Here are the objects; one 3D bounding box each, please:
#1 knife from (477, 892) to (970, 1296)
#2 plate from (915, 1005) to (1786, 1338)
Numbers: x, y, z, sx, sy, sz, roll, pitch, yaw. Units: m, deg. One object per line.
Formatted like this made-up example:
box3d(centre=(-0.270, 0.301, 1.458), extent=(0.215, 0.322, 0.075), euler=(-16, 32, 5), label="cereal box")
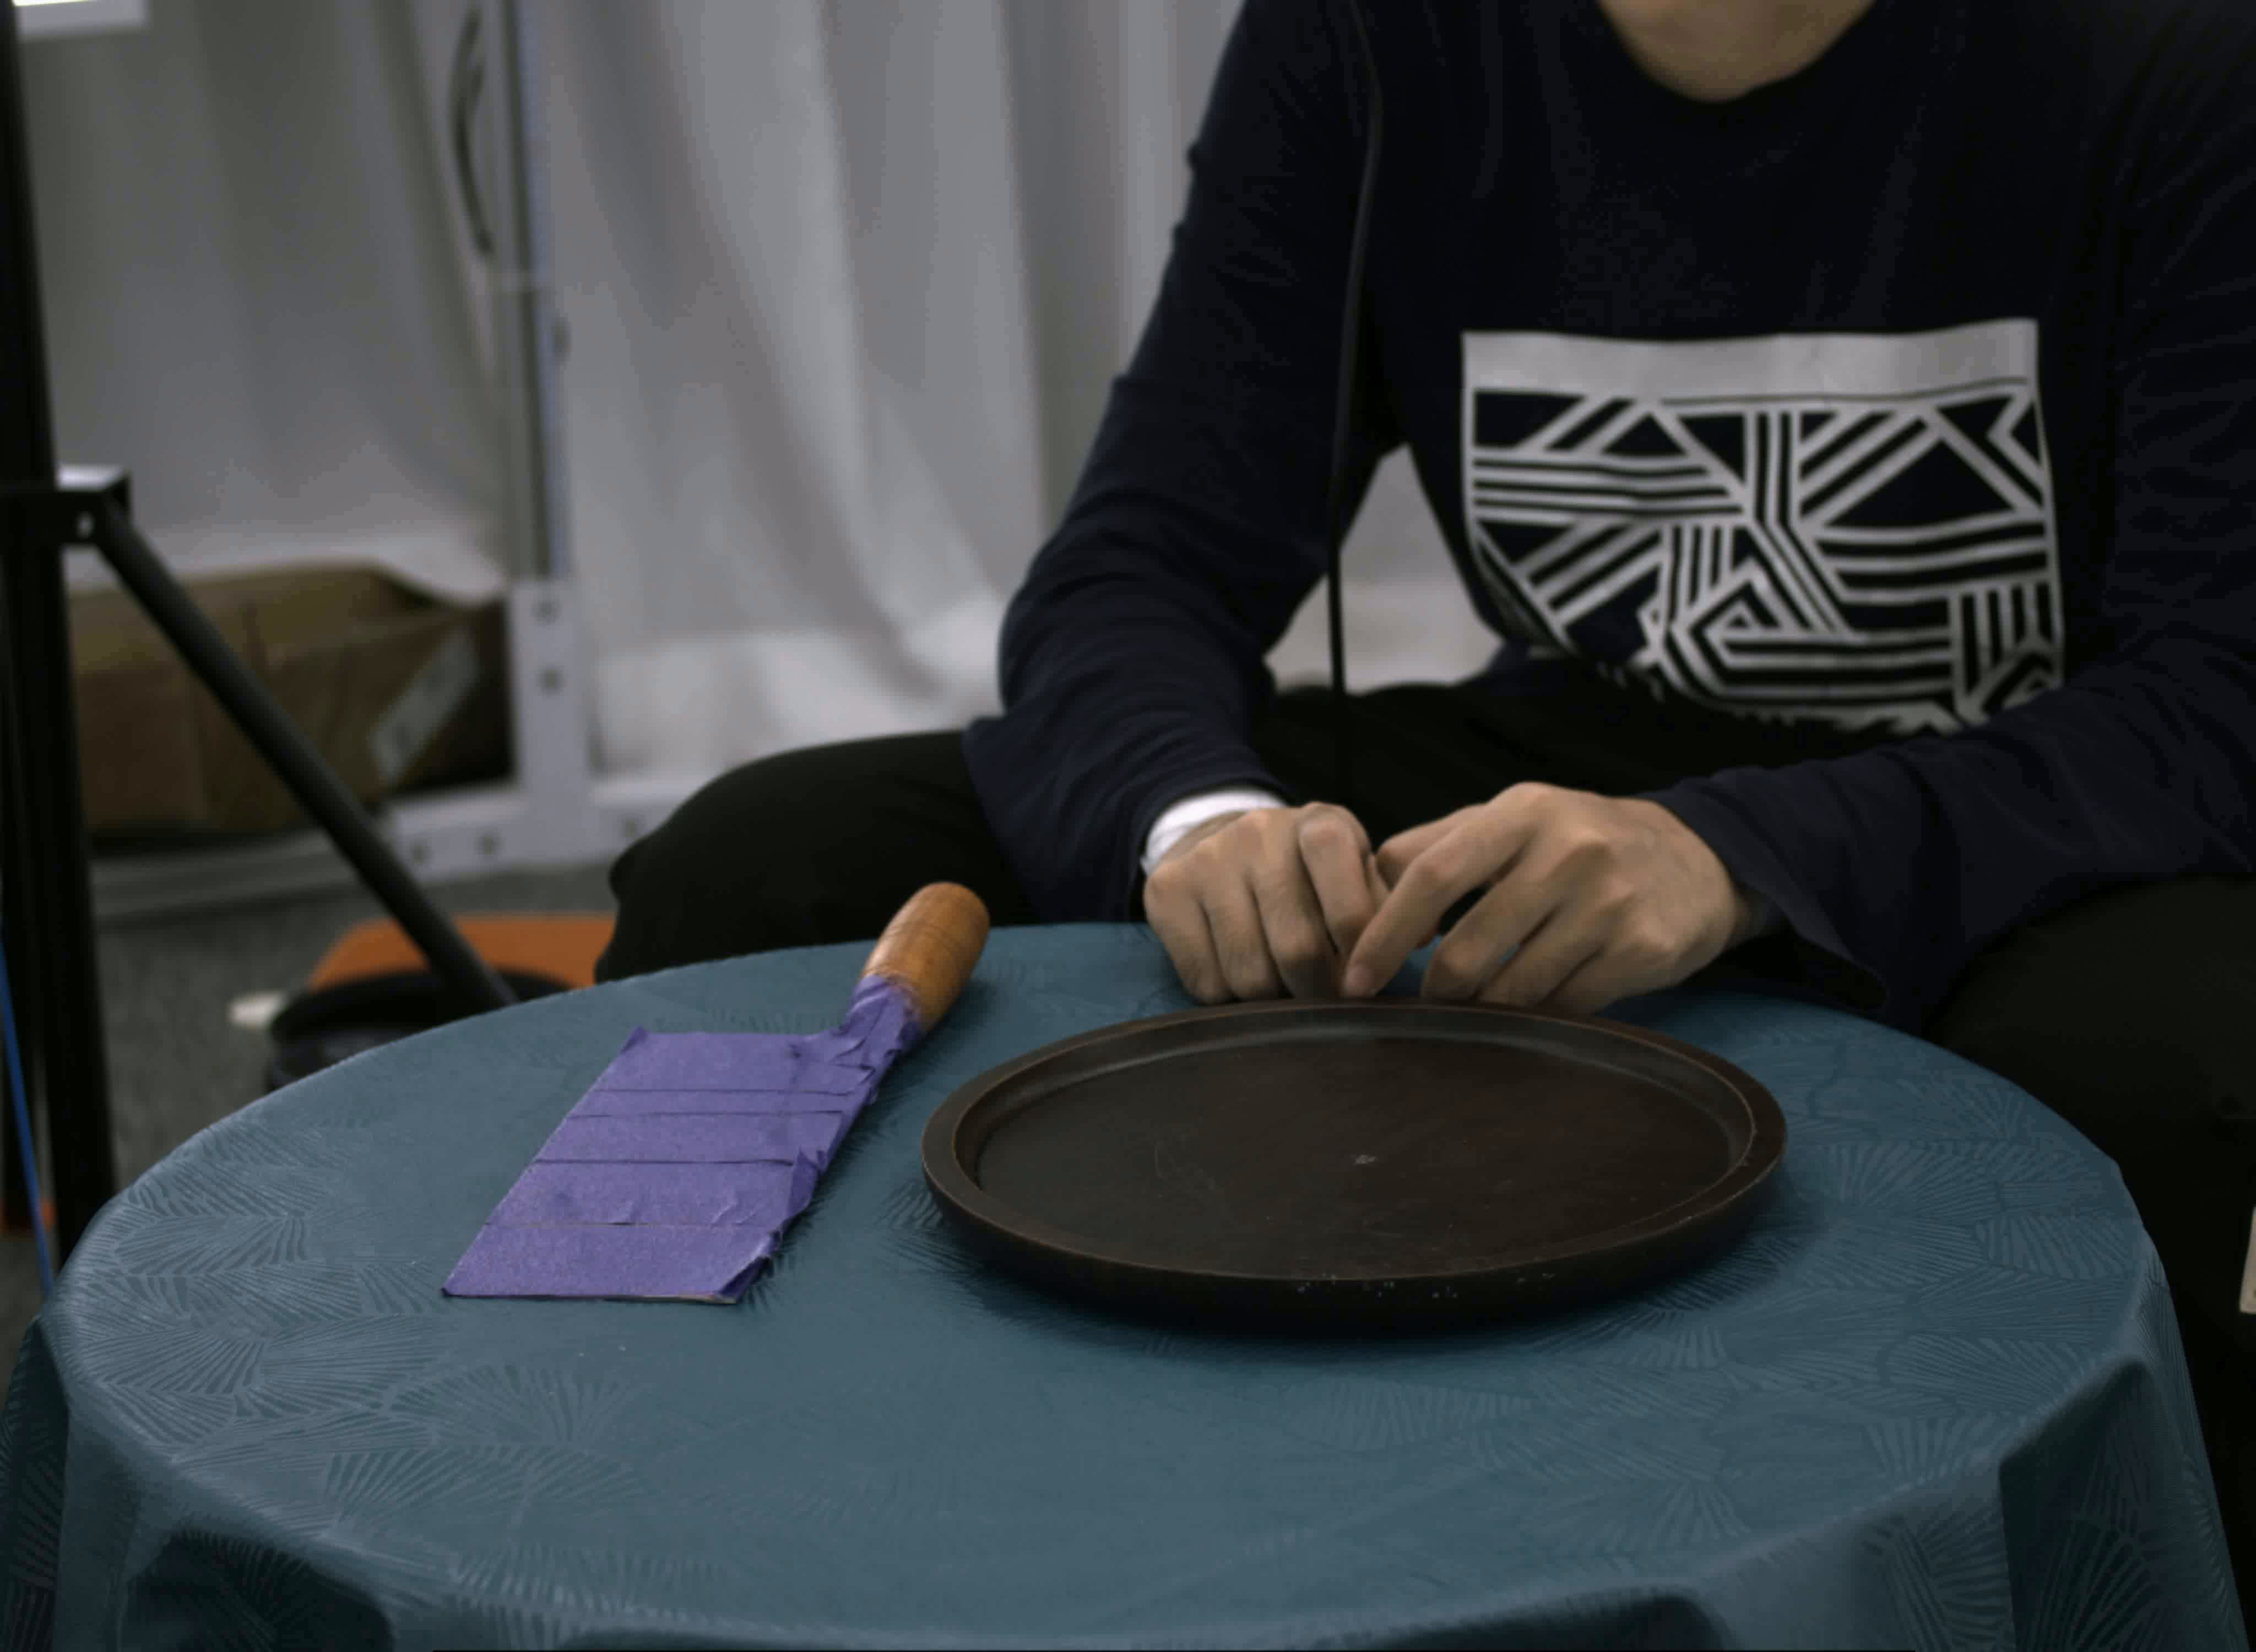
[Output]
box3d(centre=(-0.121, 0.079, 1.635), extent=(0.104, 0.032, 0.314), euler=(1, 16, 11), label="knife")
box3d(centre=(0.064, 0.097, 1.546), extent=(0.253, 0.029, 0.256), euler=(-3, 17, -1), label="plate")
